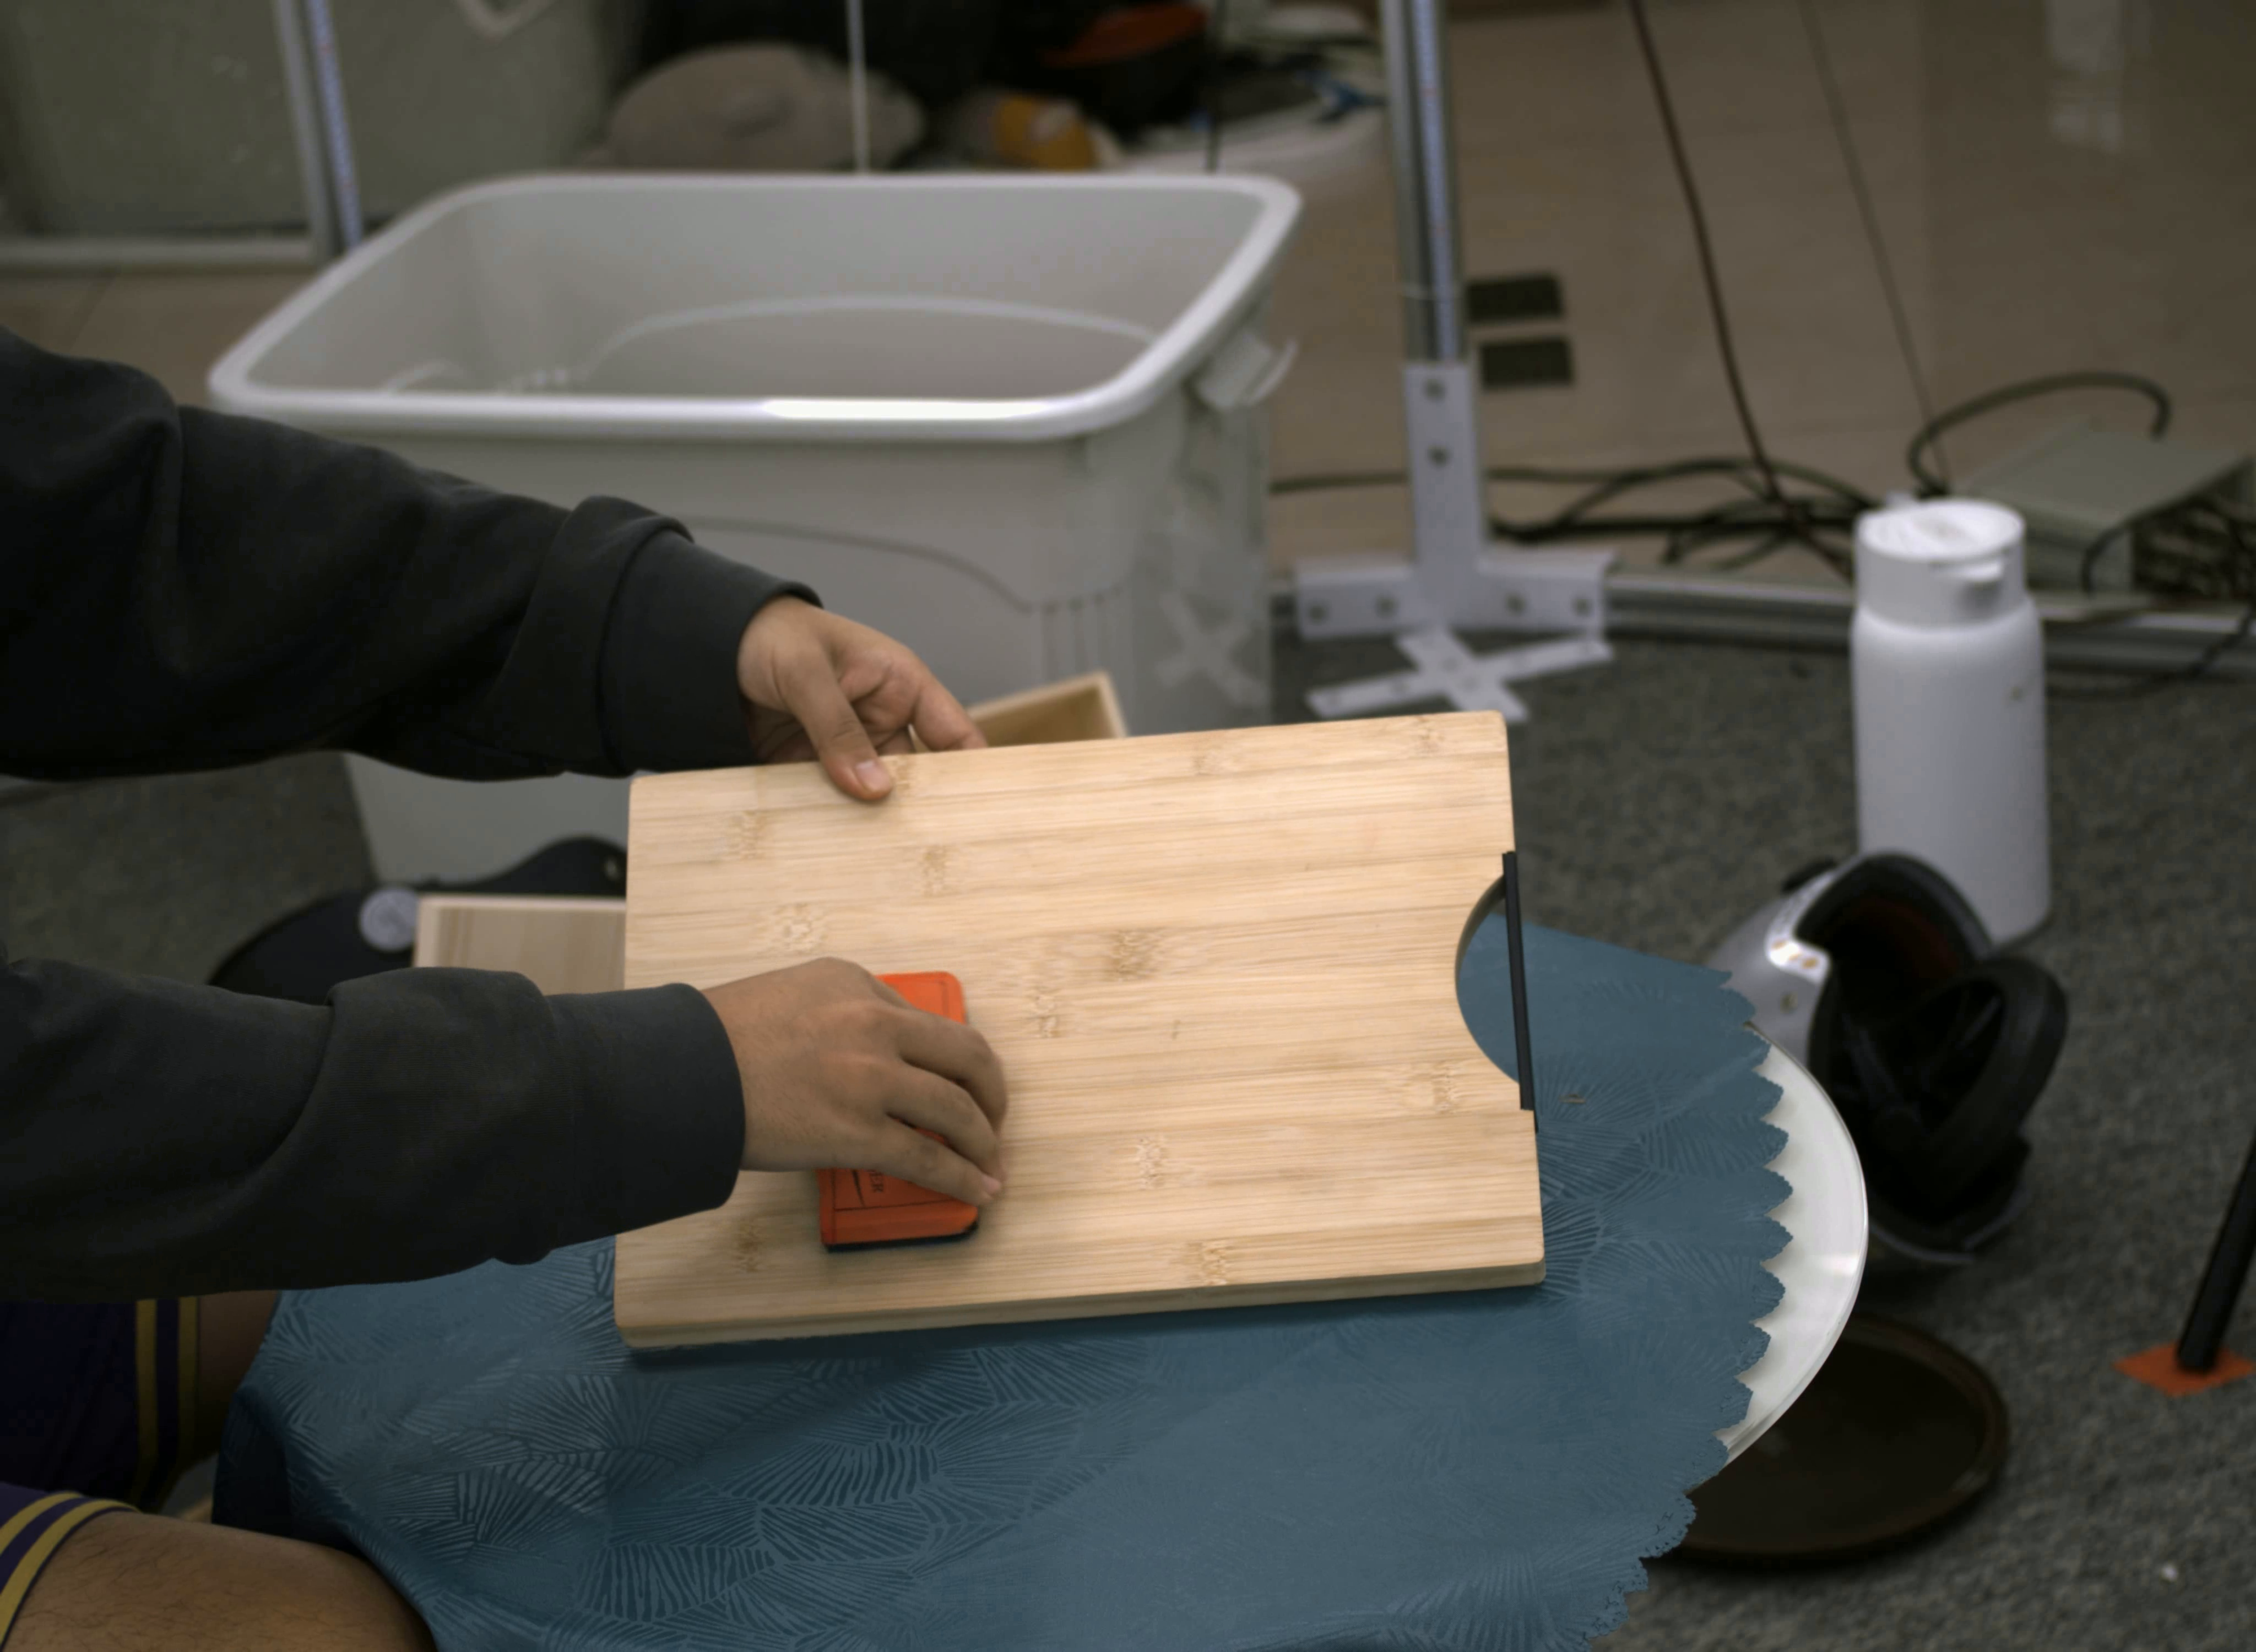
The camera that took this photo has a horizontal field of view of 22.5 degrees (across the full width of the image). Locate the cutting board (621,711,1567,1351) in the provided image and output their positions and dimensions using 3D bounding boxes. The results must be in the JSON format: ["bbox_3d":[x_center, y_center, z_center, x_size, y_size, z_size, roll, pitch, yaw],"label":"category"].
[{"bbox_3d":[-0.016,0.074,2.118,0.348,0.024,0.247,-5,59,4],"label":"cutting board"}]

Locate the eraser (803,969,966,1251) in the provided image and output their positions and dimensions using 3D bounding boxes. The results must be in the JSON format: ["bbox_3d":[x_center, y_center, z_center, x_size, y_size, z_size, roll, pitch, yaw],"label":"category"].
[{"bbox_3d":[-0.090,0.104,2.081,0.059,0.023,0.106,-4,56,-1],"label":"eraser"}]
